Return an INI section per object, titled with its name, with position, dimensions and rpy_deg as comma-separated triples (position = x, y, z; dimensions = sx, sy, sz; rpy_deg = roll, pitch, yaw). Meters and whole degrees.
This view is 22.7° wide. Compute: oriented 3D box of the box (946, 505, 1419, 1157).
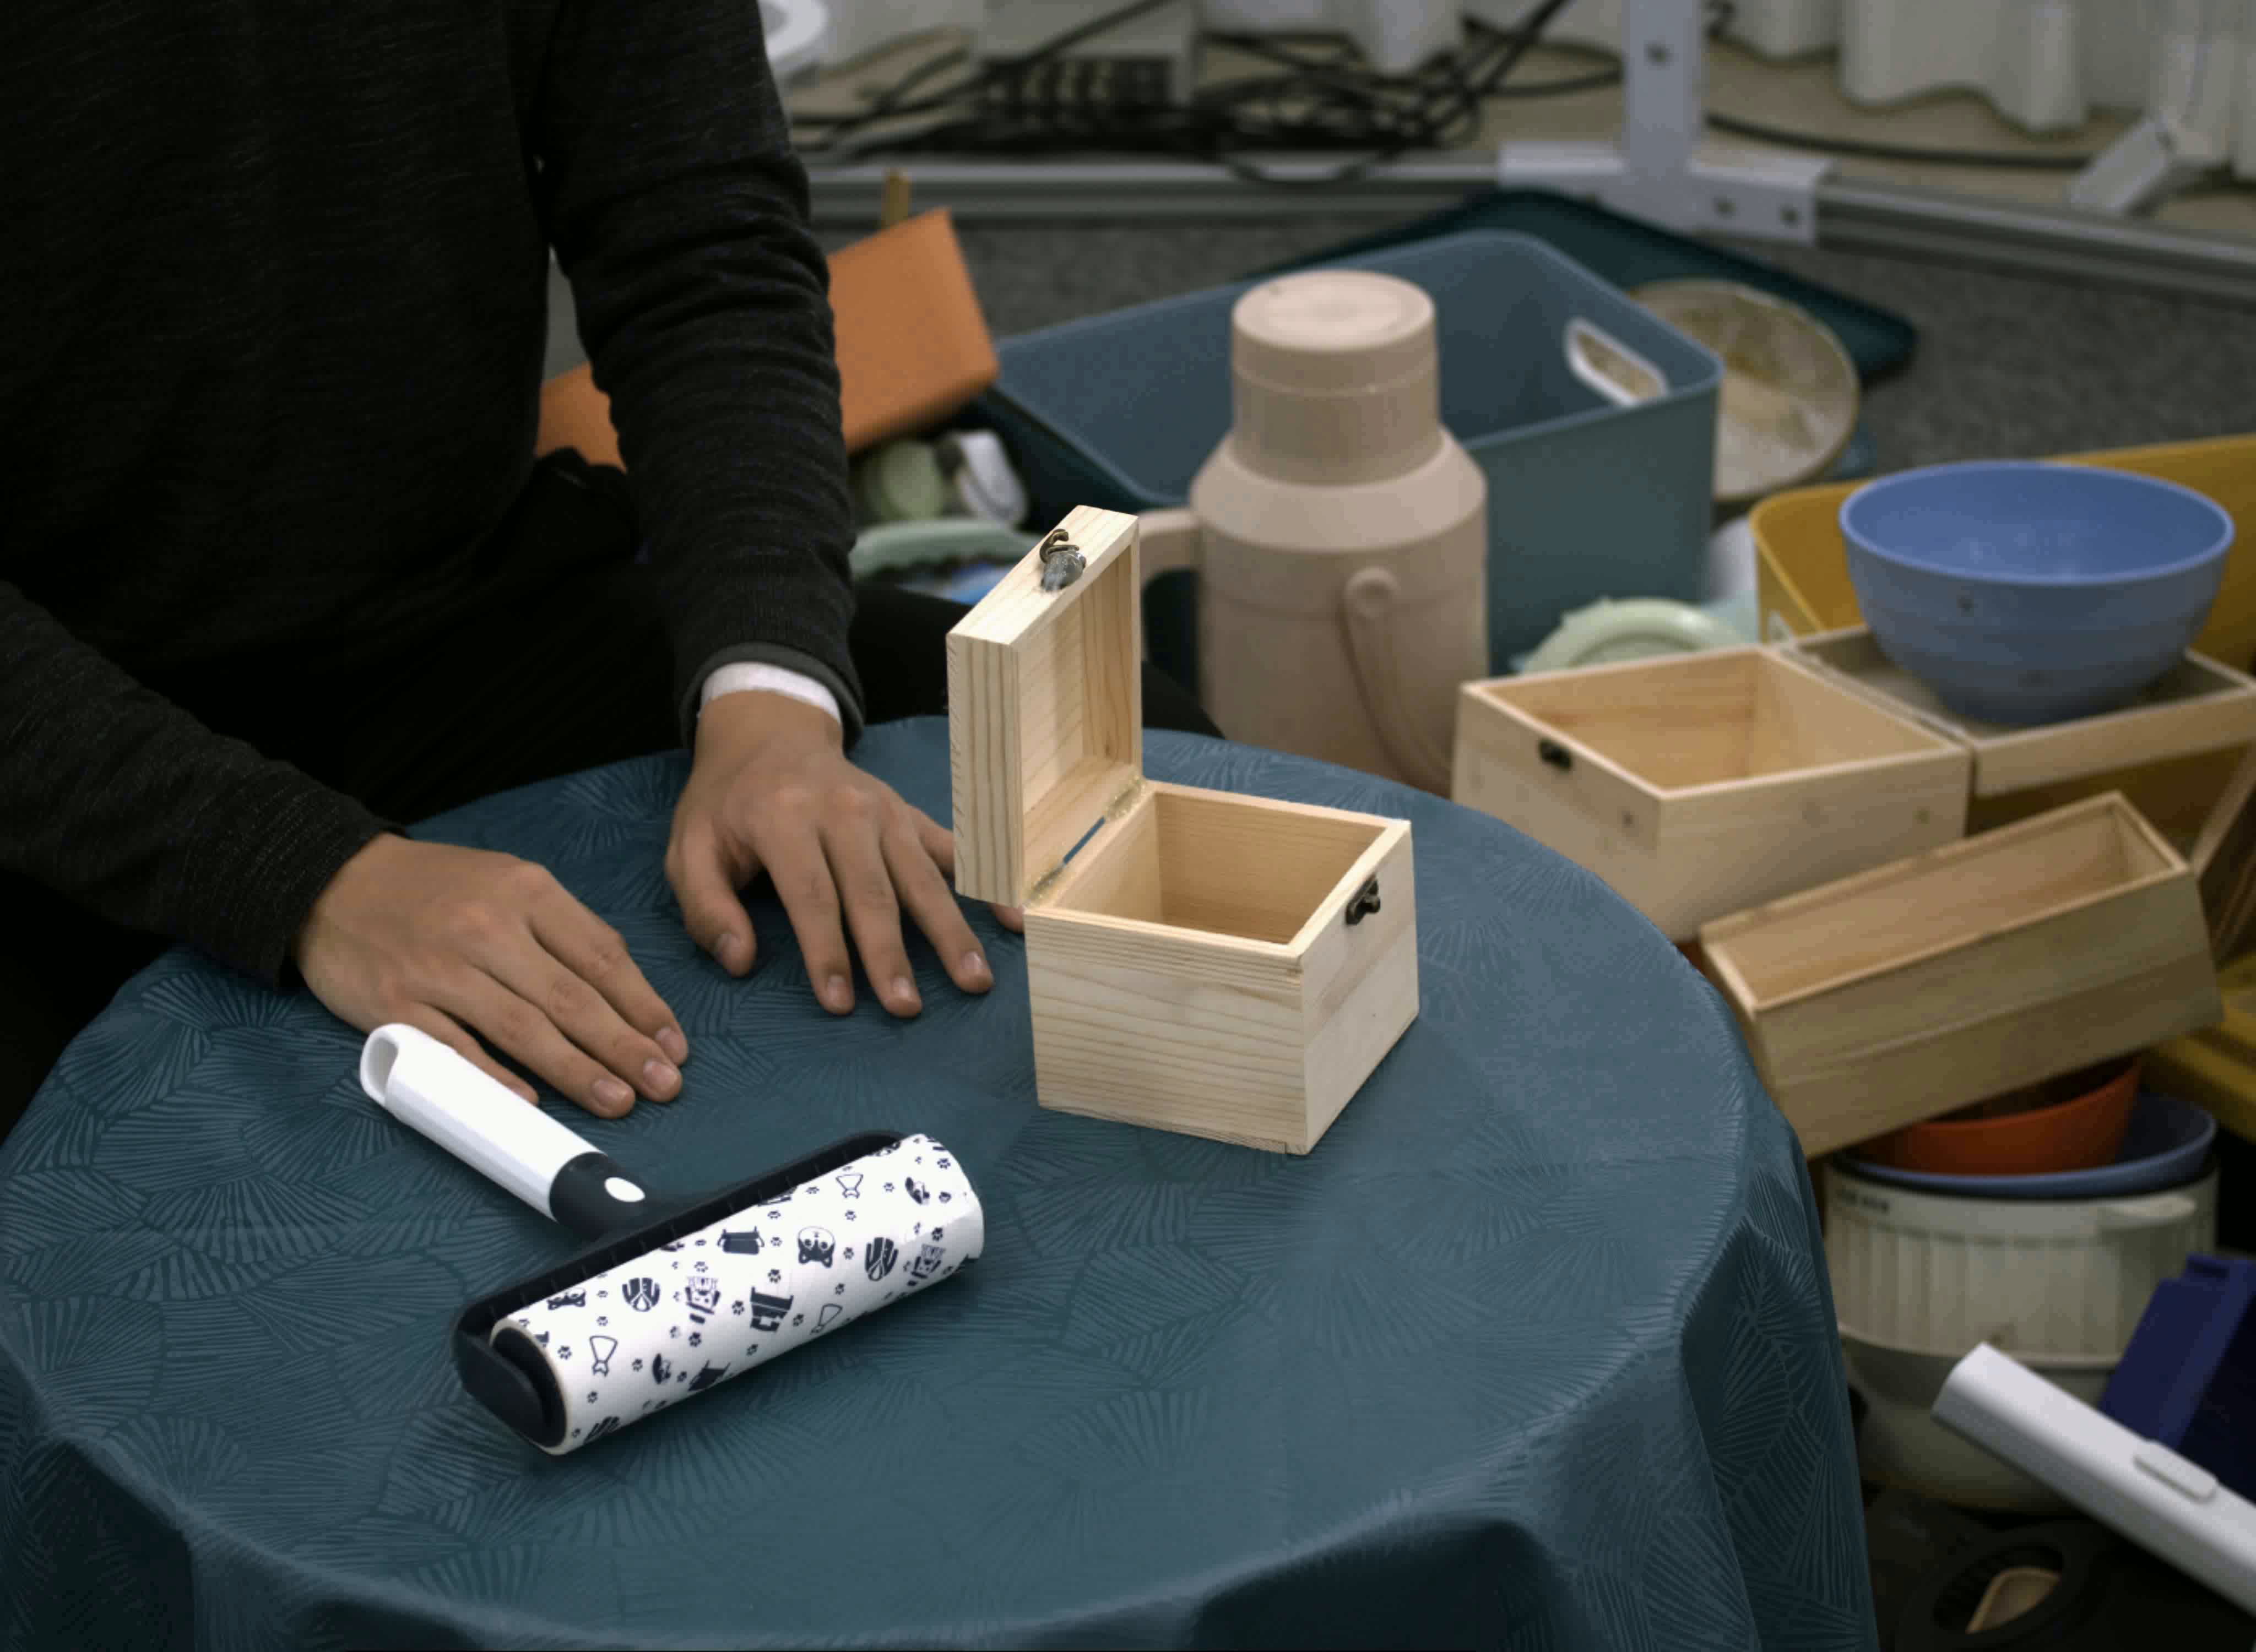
[box]
position = 0.022, 0.000, 1.899
dimensions = 0.133, 0.182, 0.104
rpy_deg = 8, 28, 23

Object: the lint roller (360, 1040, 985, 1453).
[lint roller]
position = -0.186, 0.115, 1.846
dimensions = 0.178, 0.050, 0.247
rpy_deg = -23, 32, -32
